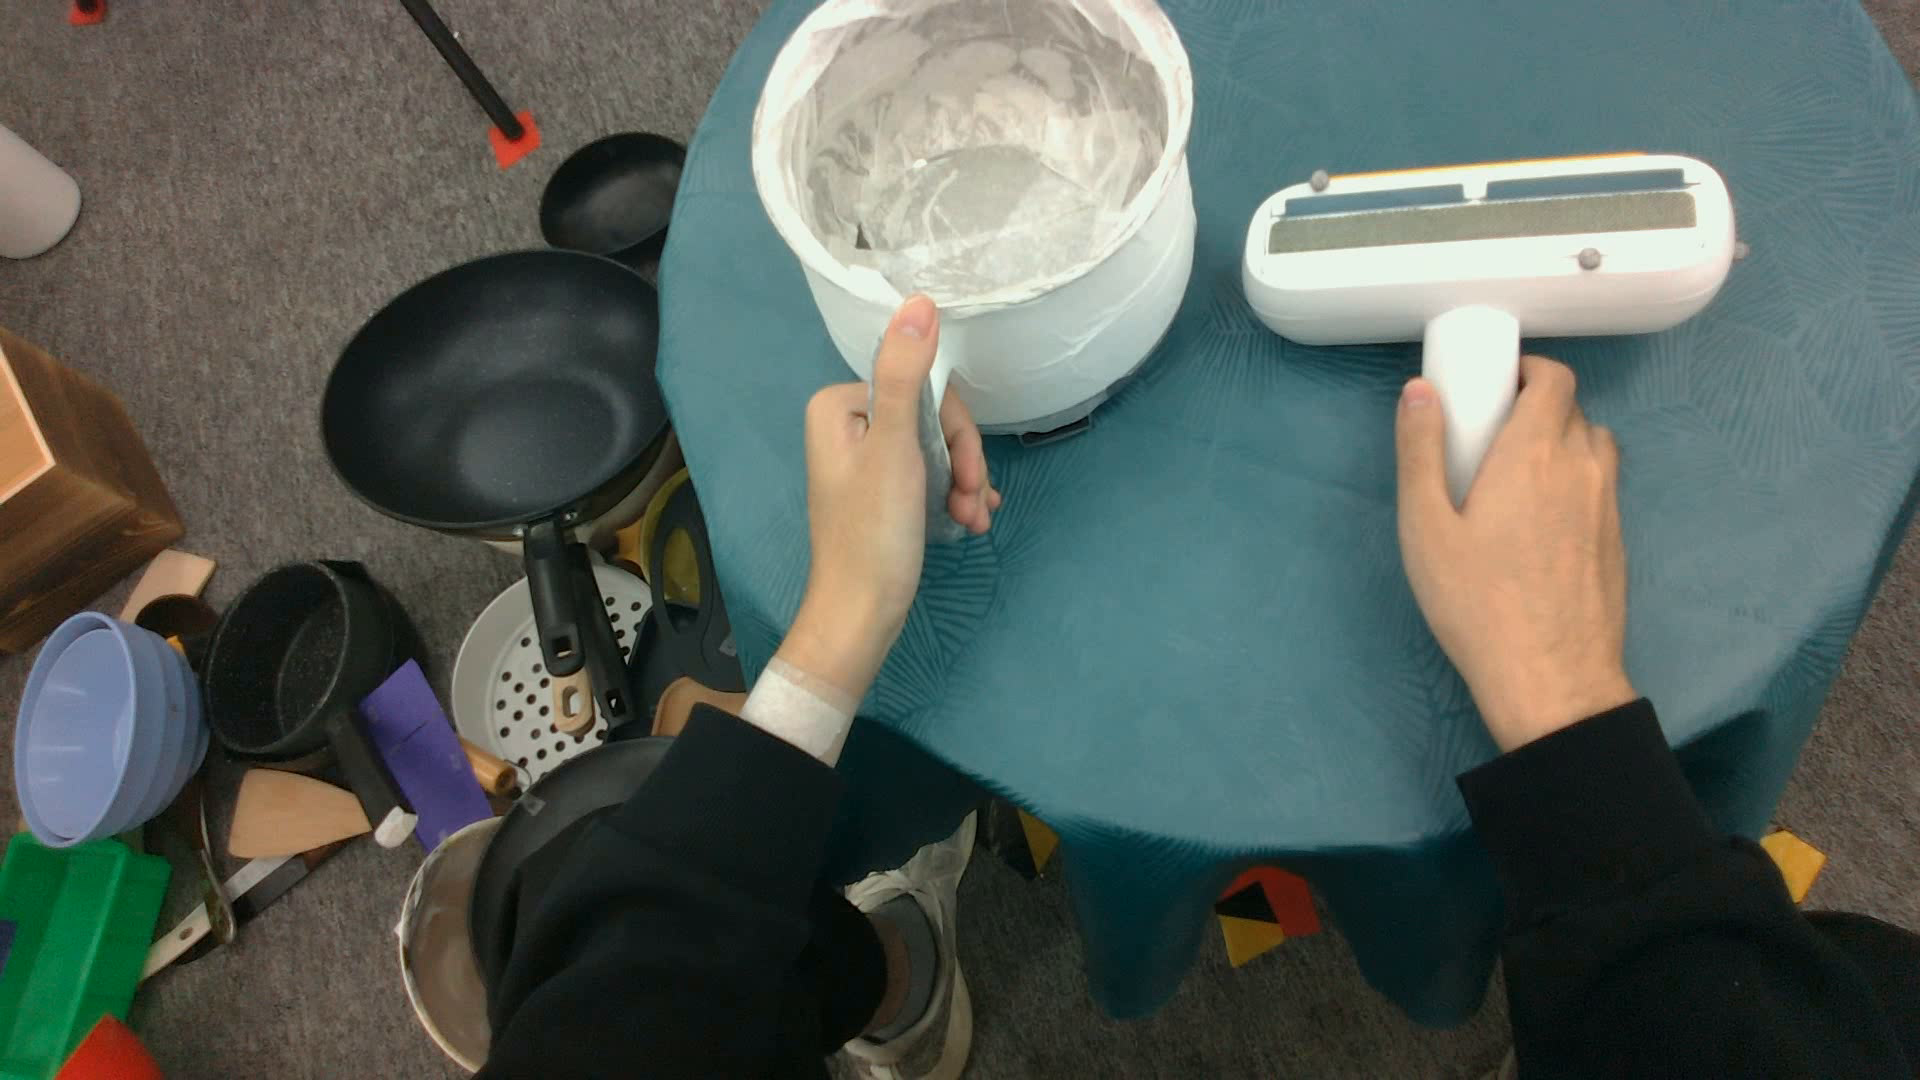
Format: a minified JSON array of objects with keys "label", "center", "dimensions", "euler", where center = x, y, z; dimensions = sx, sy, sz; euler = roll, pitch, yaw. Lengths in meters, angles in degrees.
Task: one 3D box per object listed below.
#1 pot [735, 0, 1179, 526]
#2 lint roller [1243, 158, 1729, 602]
[{"label":"pot","center":[0.000,-0.128,0.597],"dimensions":[0.178,0.136,0.234],"euler":[9,70,15]},{"label":"lint roller","center":[0.209,-0.071,0.580],"dimensions":[0.192,0.074,0.193],"euler":[7,72,19]}]
